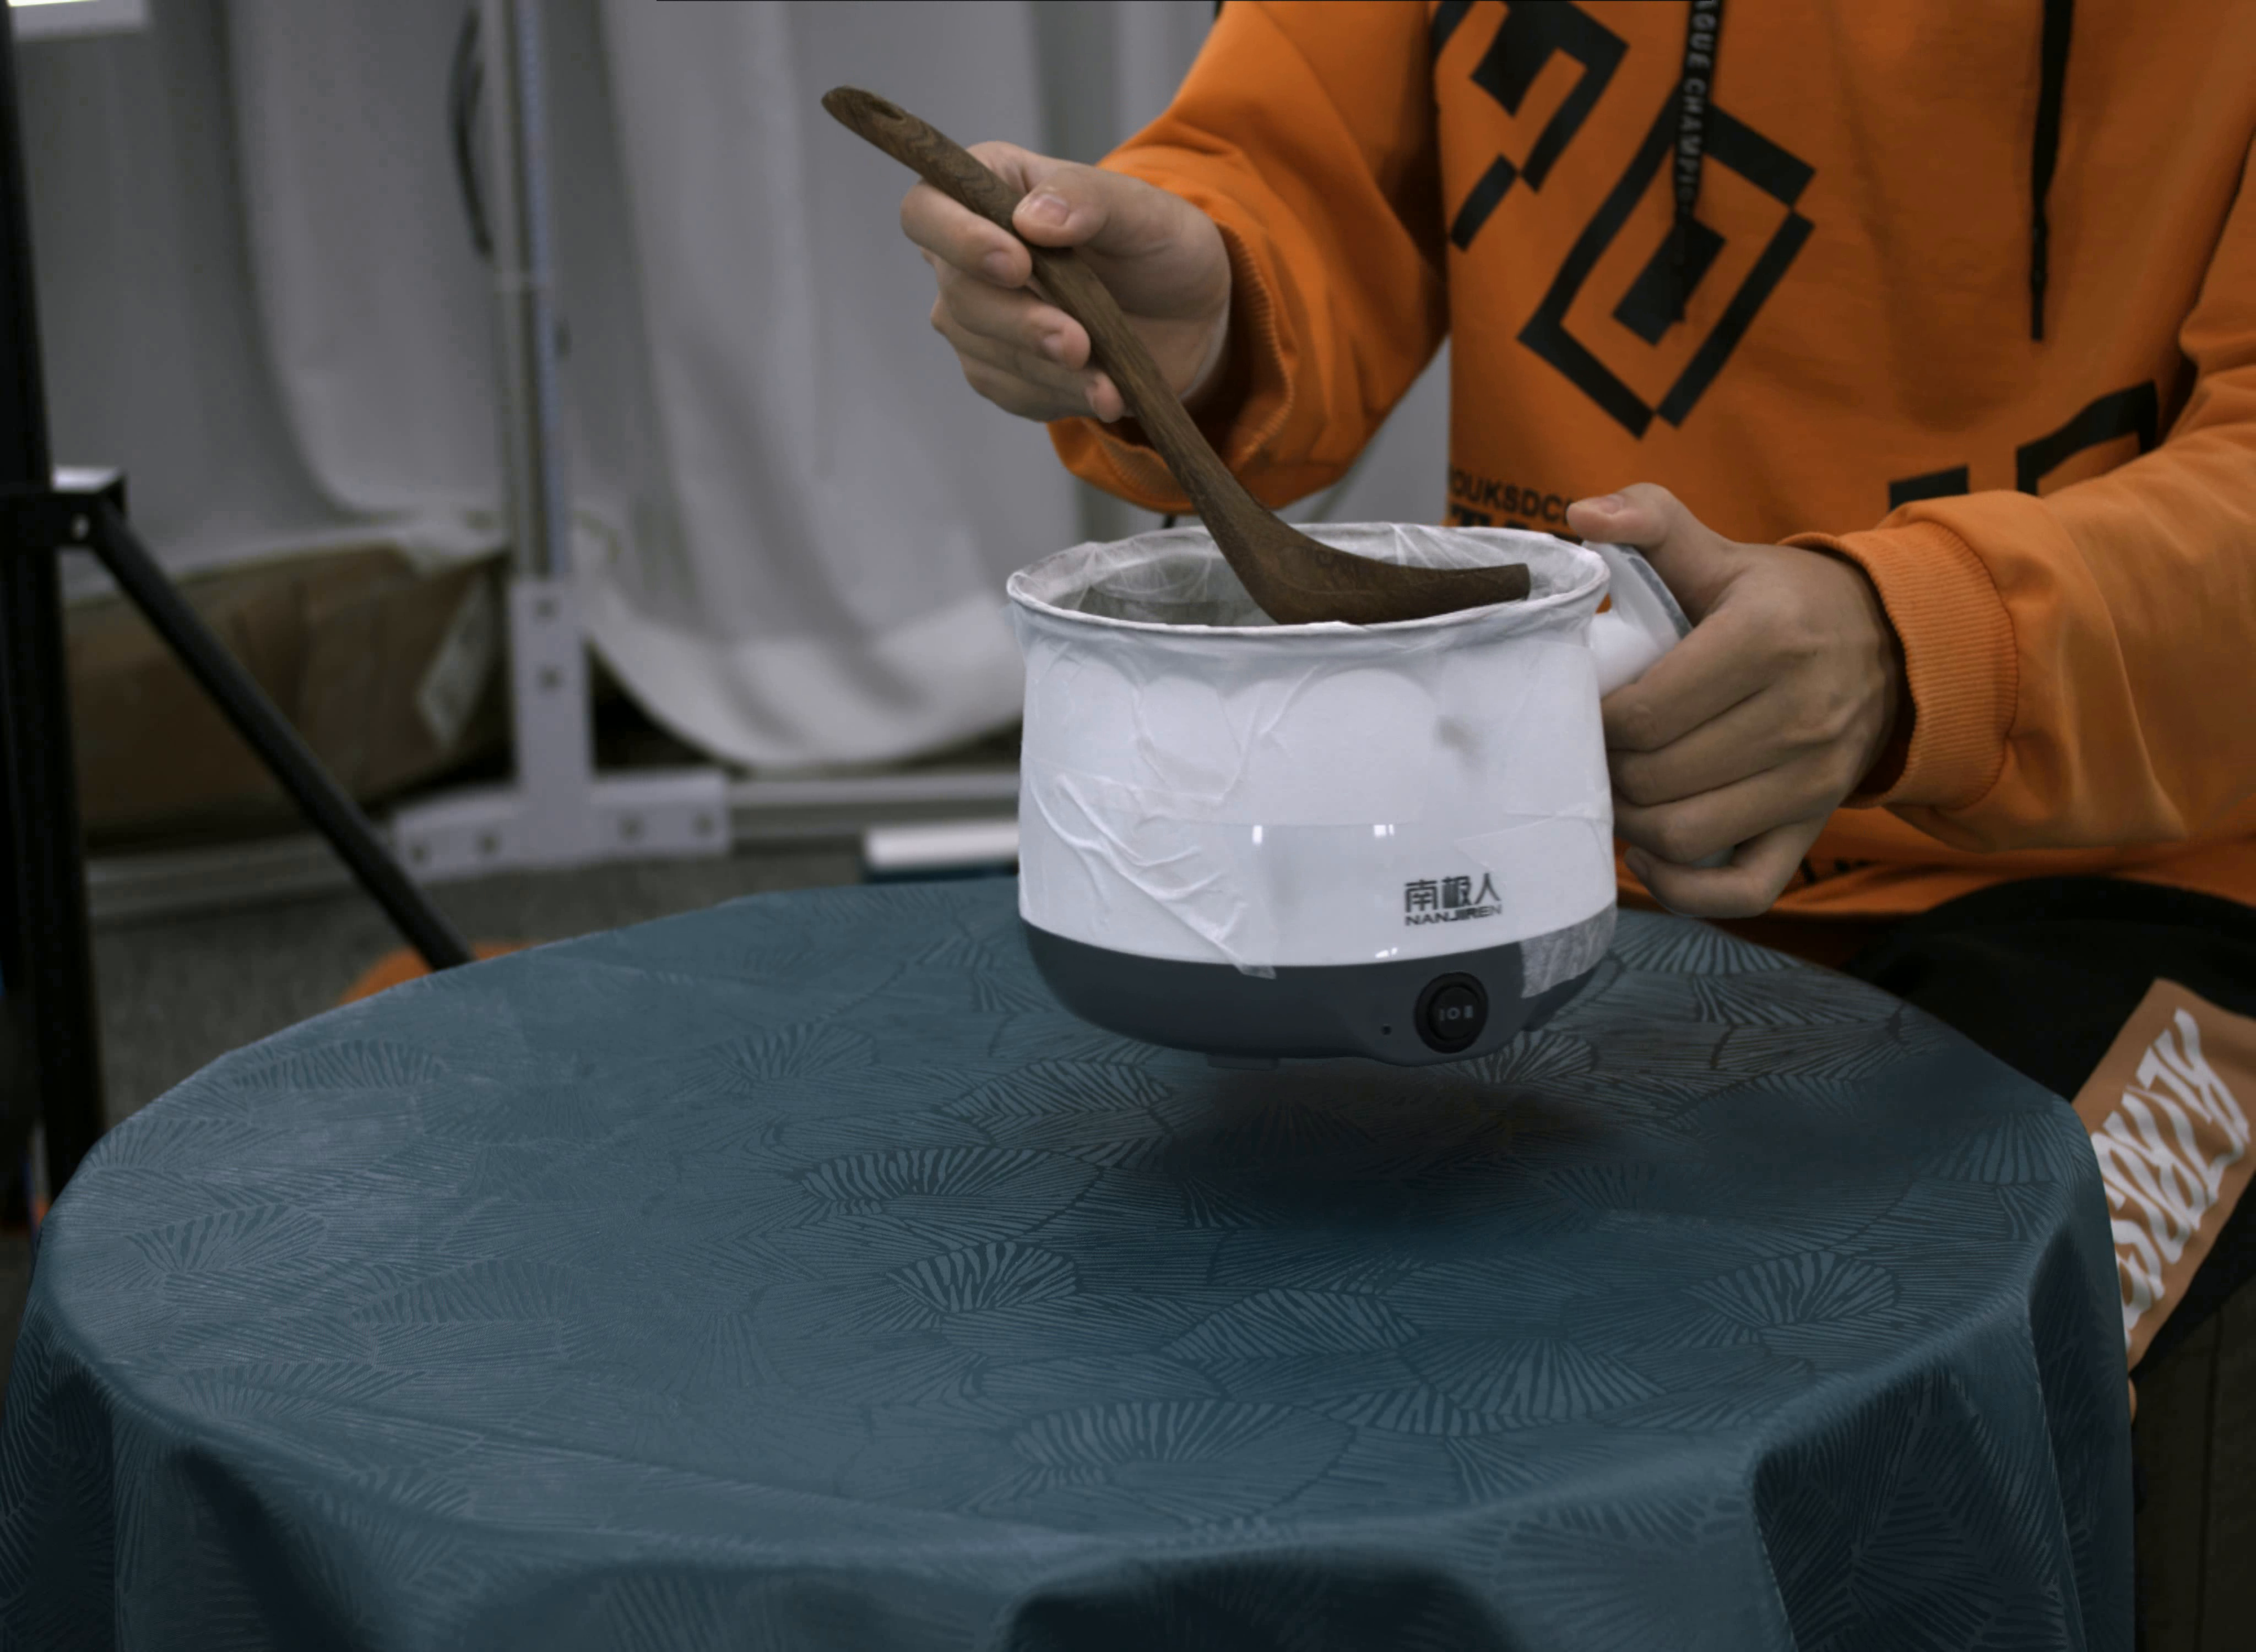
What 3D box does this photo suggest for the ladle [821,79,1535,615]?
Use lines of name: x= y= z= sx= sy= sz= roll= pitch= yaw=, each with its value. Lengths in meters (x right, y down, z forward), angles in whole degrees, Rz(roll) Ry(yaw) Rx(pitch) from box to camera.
ladle: x=0.014 y=-0.149 z=1.590 sx=0.278 sy=0.072 sz=0.074 roll=50 pitch=26 yaw=18

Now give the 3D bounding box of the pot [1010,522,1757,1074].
pot: x=0.080 y=-0.014 z=1.573 sx=0.229 sy=0.137 sz=0.182 roll=-8 pitch=14 yaw=-24
